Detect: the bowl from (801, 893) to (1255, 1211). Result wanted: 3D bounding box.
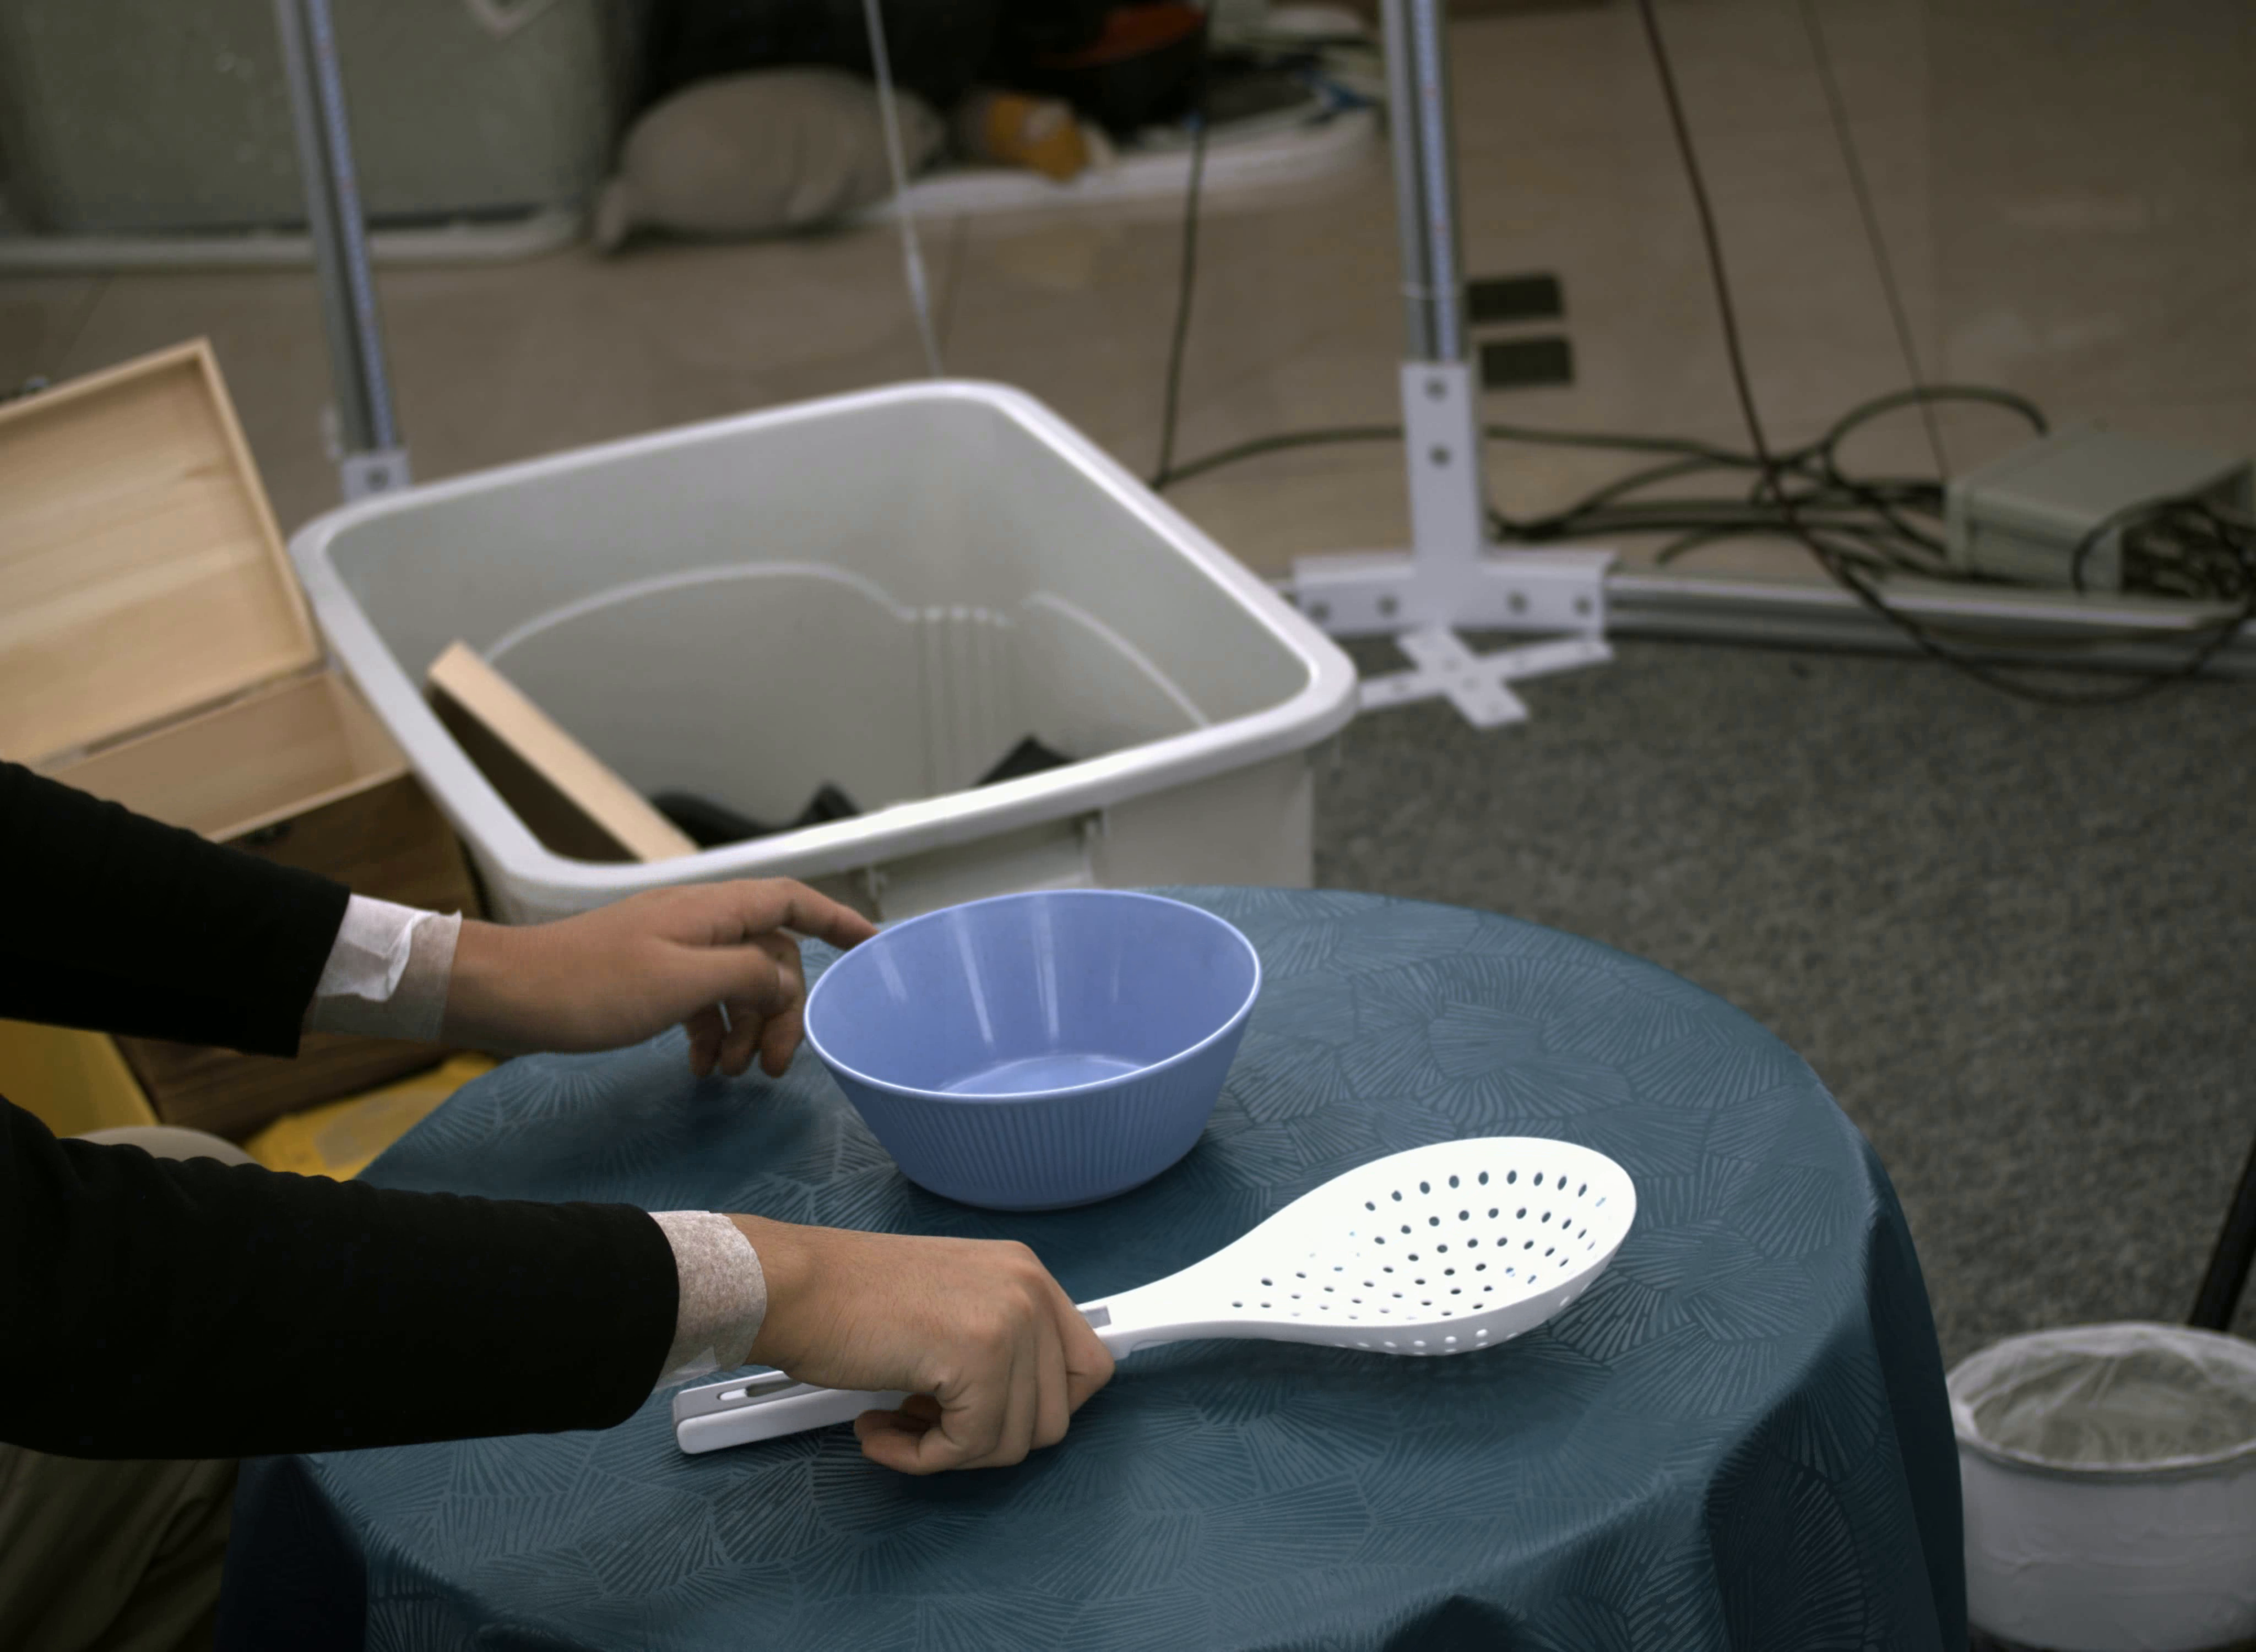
[{"bbox_3d":[-0.035,0.092,2.174,0.176,0.071,0.173,-6,26,3],"label":"bowl"}]

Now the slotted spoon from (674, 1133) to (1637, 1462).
[{"bbox_3d":[0.010,0.175,2.015,0.349,0.046,0.134,-9,24,-3],"label":"slotted spoon"}]
